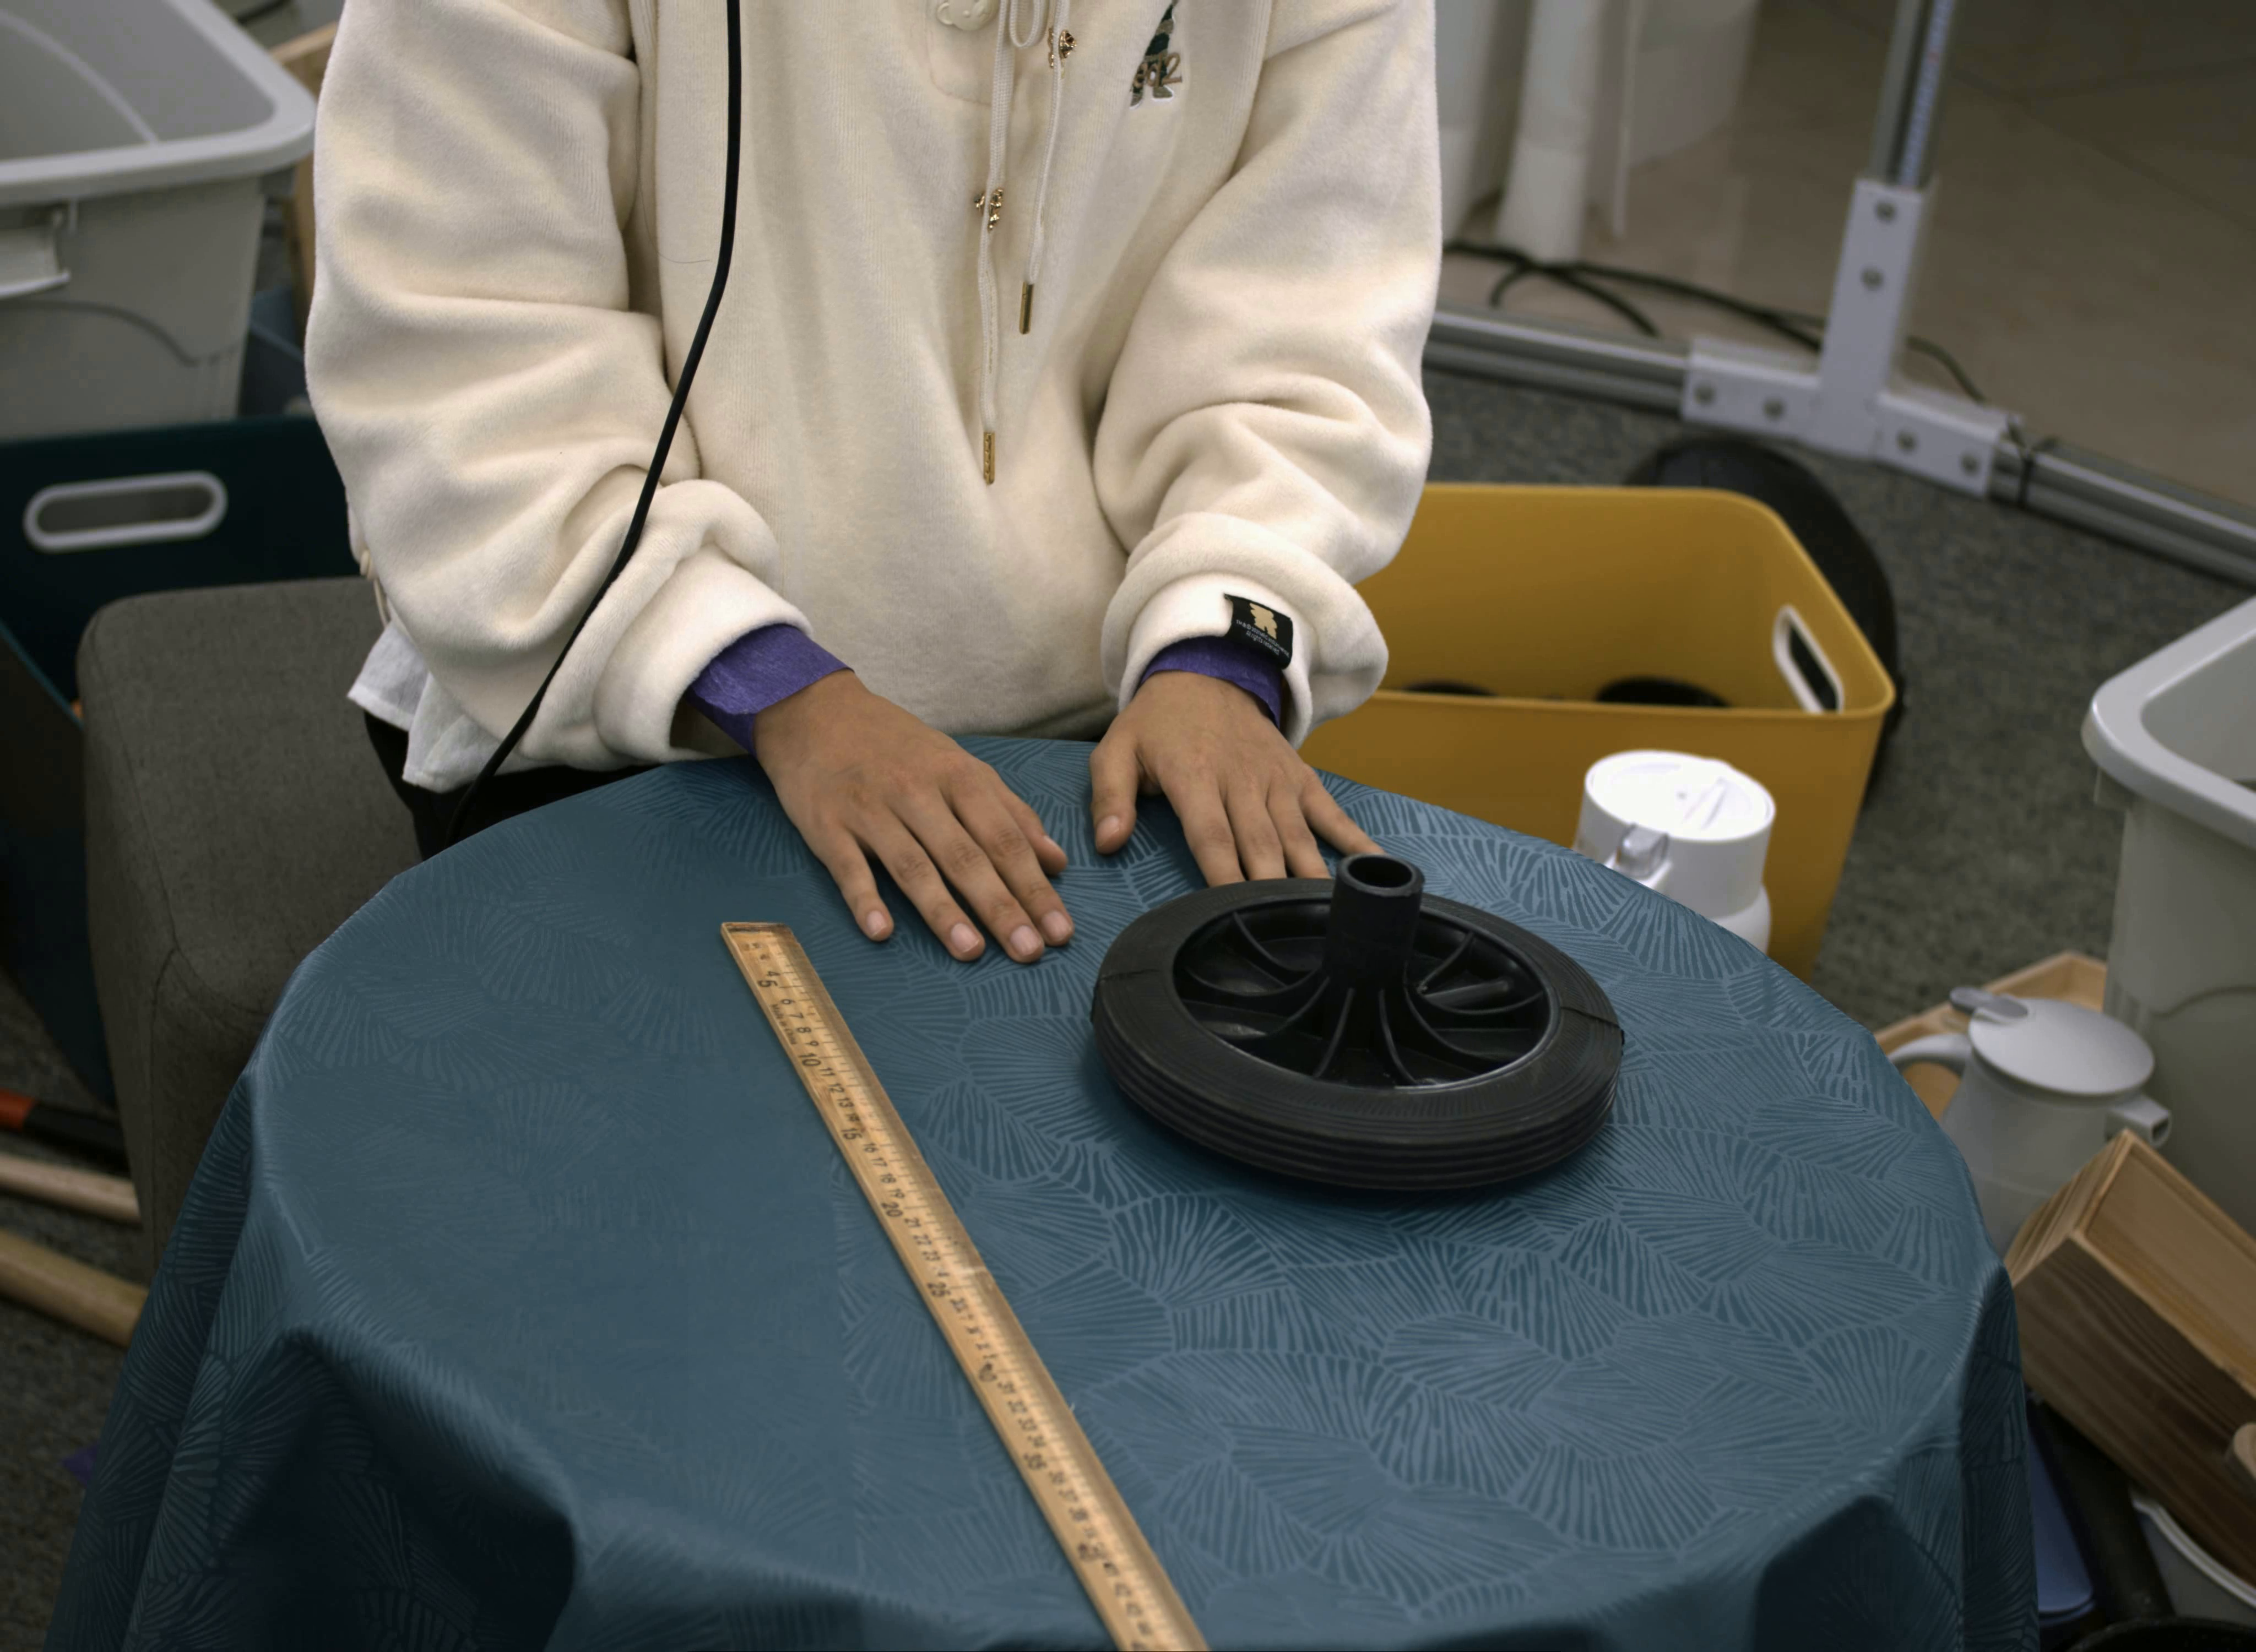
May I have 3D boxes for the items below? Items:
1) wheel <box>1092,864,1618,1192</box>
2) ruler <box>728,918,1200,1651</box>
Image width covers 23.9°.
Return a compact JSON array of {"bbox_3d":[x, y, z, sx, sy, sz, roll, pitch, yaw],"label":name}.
[{"bbox_3d":[0.083,0.055,1.872,0.188,0.079,0.189,23,31,30],"label":"wheel"},{"bbox_3d":[-0.056,0.151,1.730,0.026,0.006,0.505,-5,29,-18],"label":"ruler"}]
